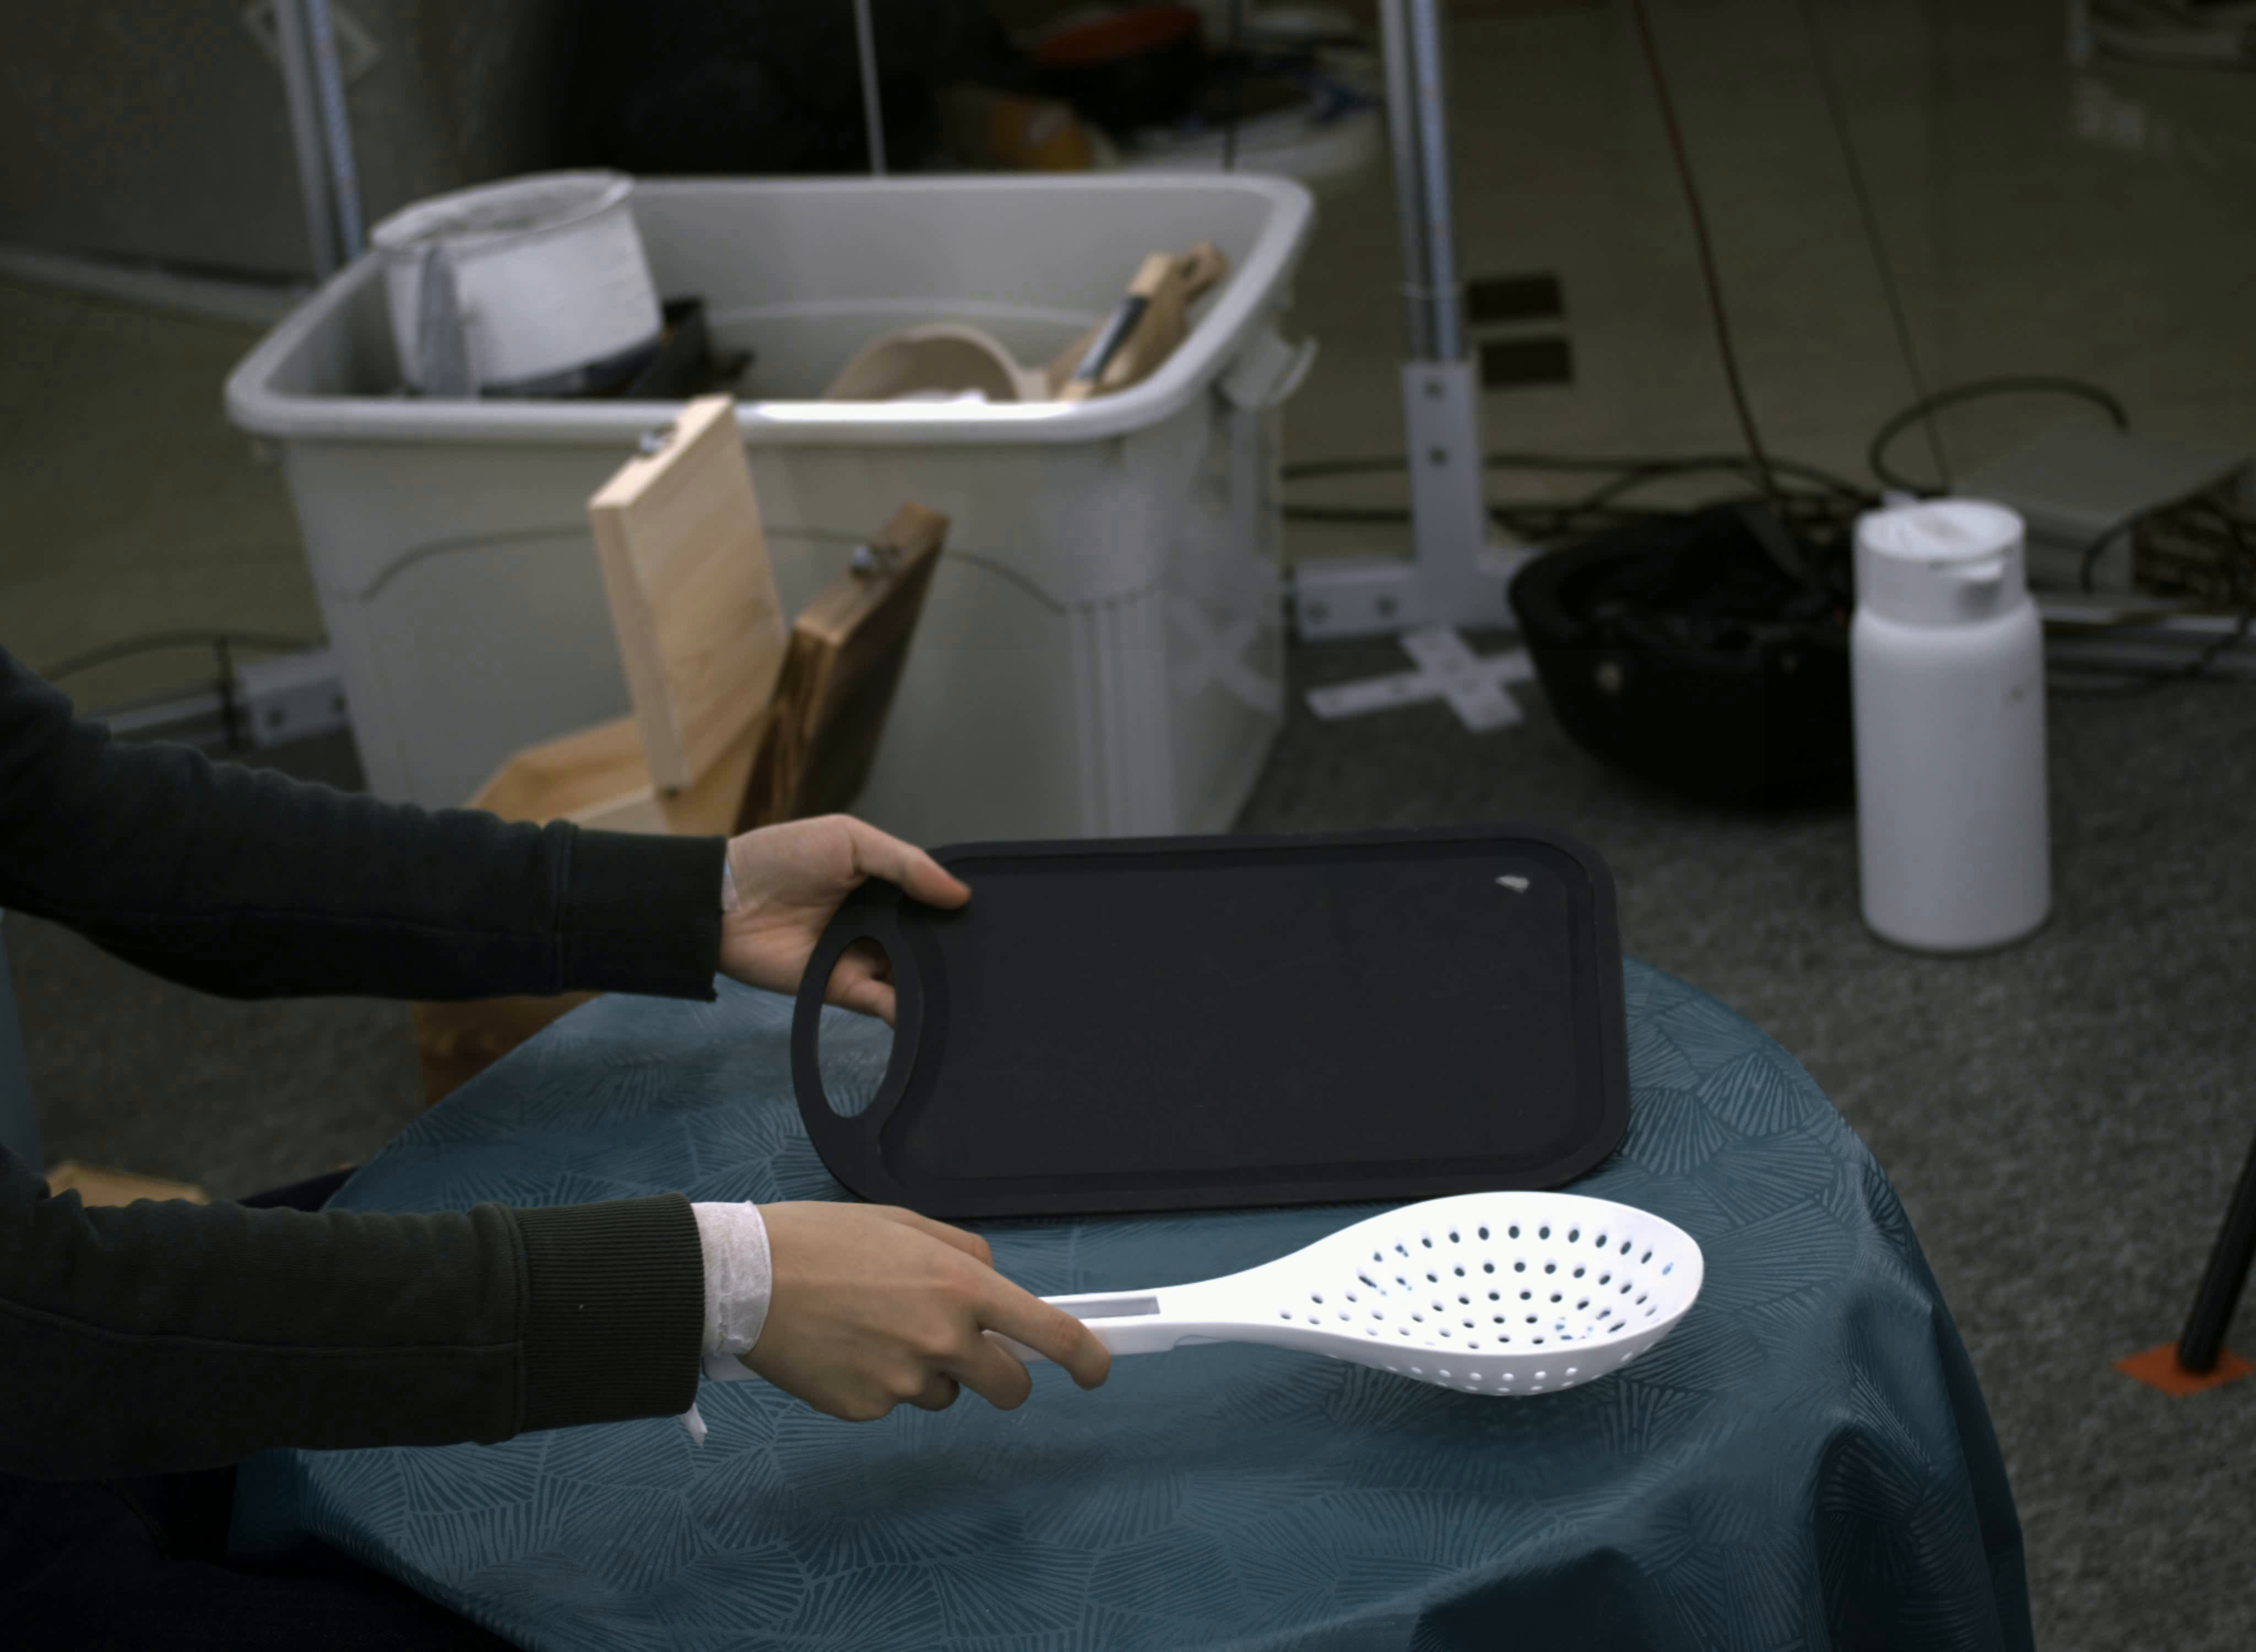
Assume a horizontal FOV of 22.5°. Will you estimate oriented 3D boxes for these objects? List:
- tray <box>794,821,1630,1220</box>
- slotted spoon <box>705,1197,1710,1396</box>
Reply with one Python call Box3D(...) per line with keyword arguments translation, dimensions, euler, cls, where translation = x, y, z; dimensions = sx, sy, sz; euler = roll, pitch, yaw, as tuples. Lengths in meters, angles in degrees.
Box3D(translation=(0.031, 0.073, 2.201), dimensions=(0.325, 0.010, 0.207), euler=(-3, 42, 5), cls="tray")
Box3D(translation=(0.028, 0.170, 1.978), dimensions=(0.349, 0.046, 0.134), euler=(1, 19, -6), cls="slotted spoon")
